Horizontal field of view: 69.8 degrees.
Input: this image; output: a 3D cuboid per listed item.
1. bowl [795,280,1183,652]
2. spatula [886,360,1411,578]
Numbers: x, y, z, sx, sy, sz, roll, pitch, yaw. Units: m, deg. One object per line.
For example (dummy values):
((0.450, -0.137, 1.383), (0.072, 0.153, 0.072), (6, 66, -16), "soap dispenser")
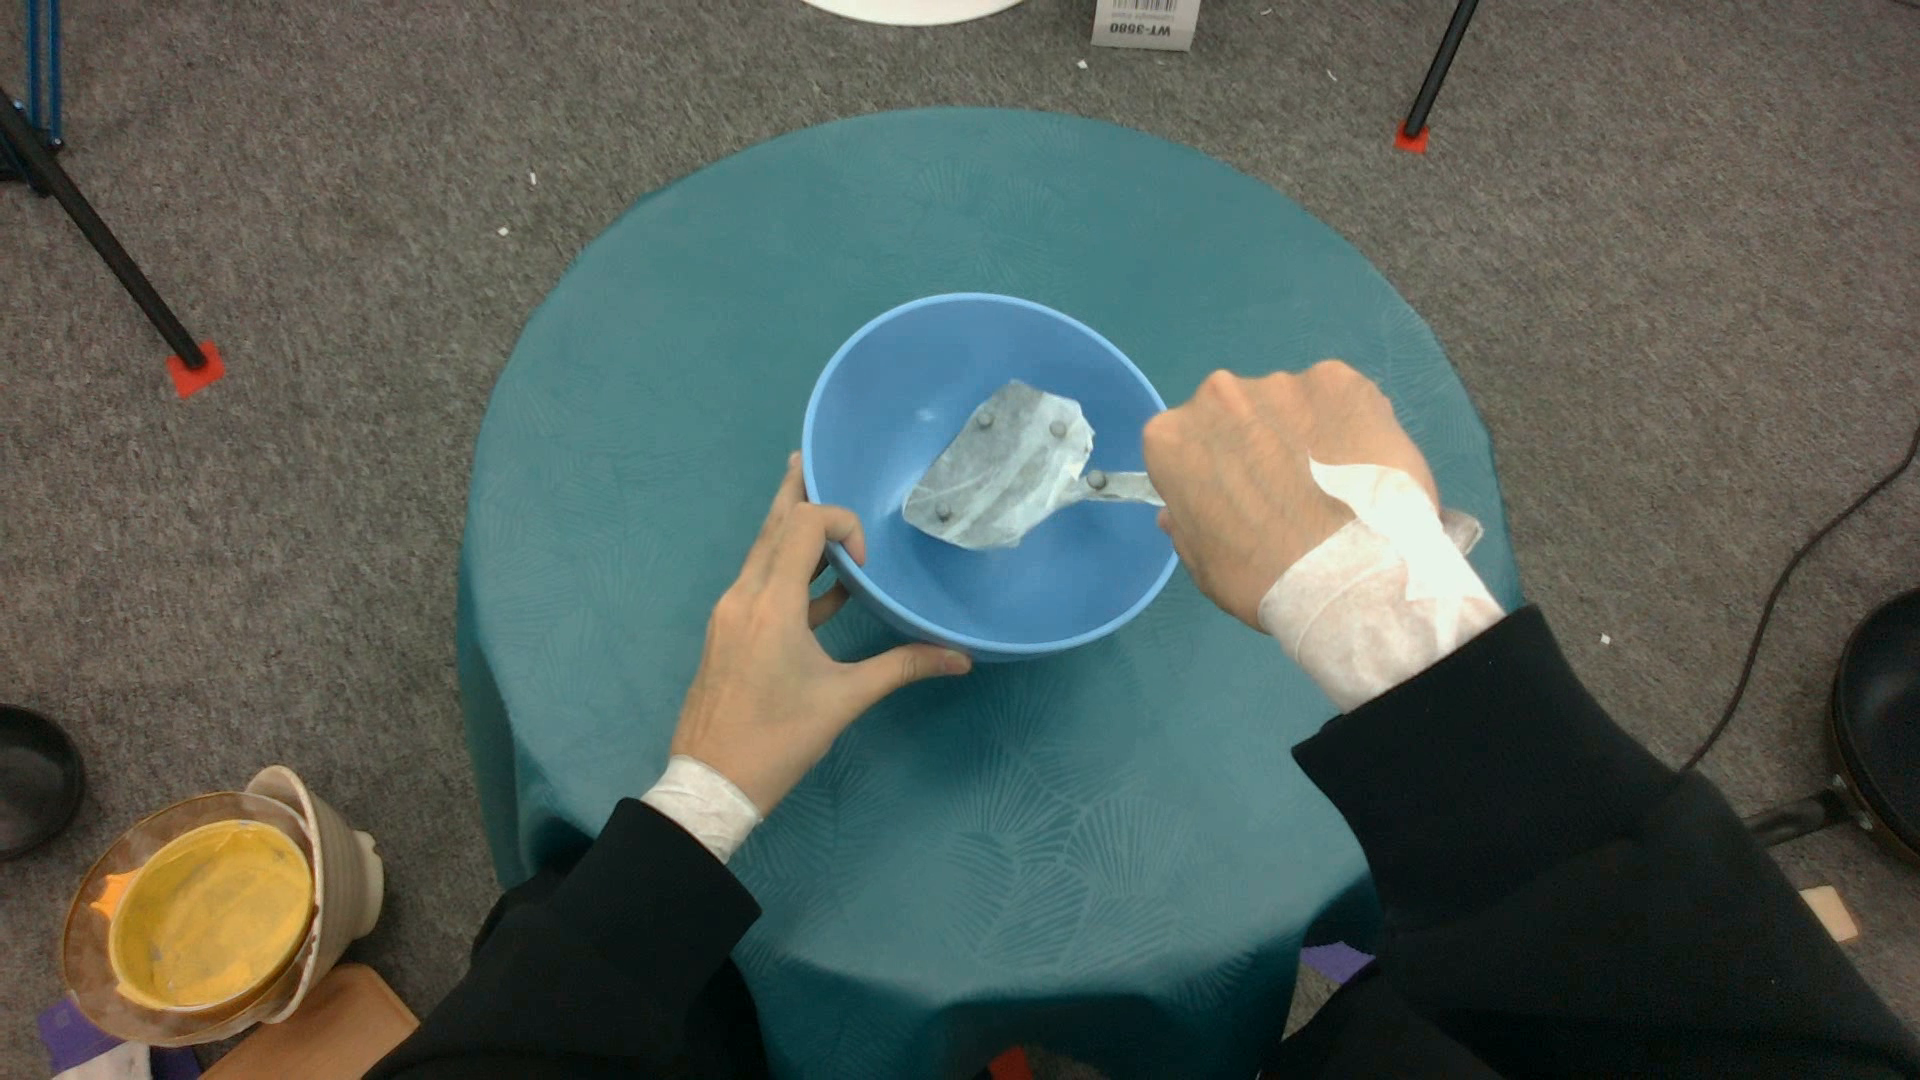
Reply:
((0.006, -0.024, 0.706), (0.197, 0.095, 0.197), (7, 64, -14), "bowl")
((0.061, -0.030, 0.568), (0.045, 0.364, 0.099), (44, 81, -19), "spatula")
